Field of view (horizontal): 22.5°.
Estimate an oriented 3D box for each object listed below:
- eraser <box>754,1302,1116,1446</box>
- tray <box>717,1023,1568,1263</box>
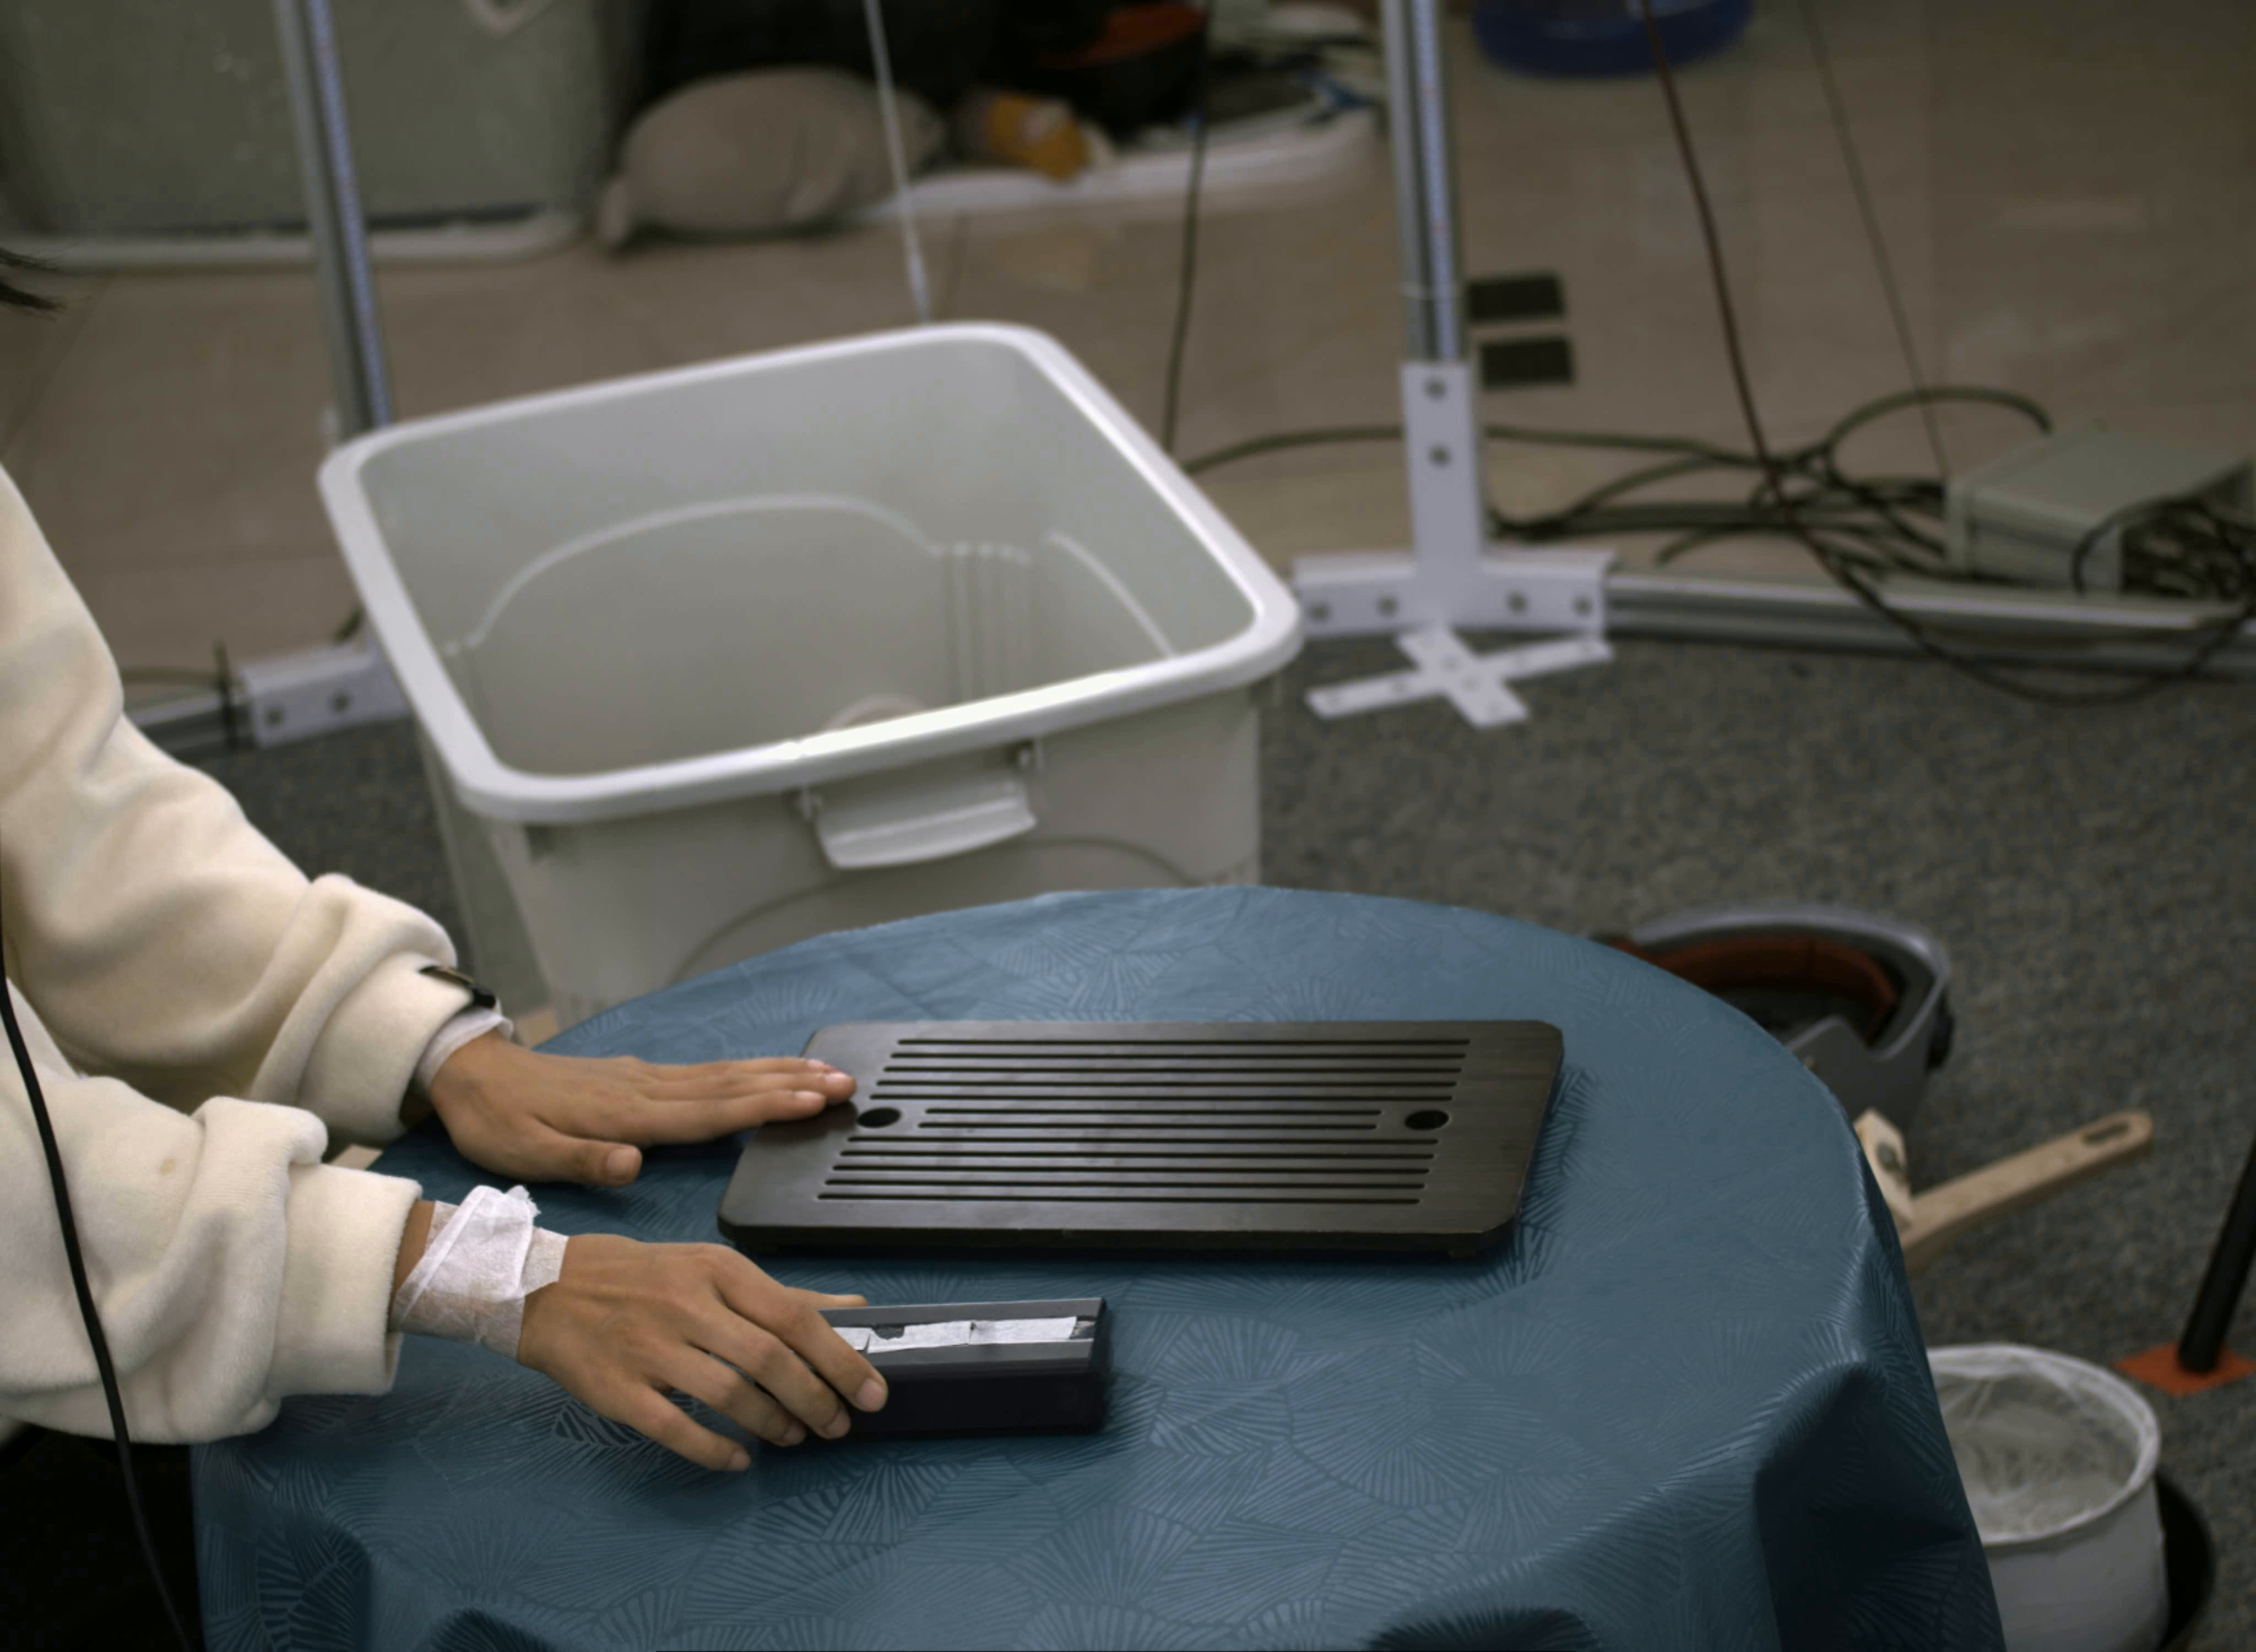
[{"bbox_3d":[-0.067,0.194,2.014,0.125,0.031,0.053,-4,23,9],"label":"eraser"},{"bbox_3d":[0.008,0.121,2.163,0.305,0.019,0.167,0,25,13],"label":"tray"}]
